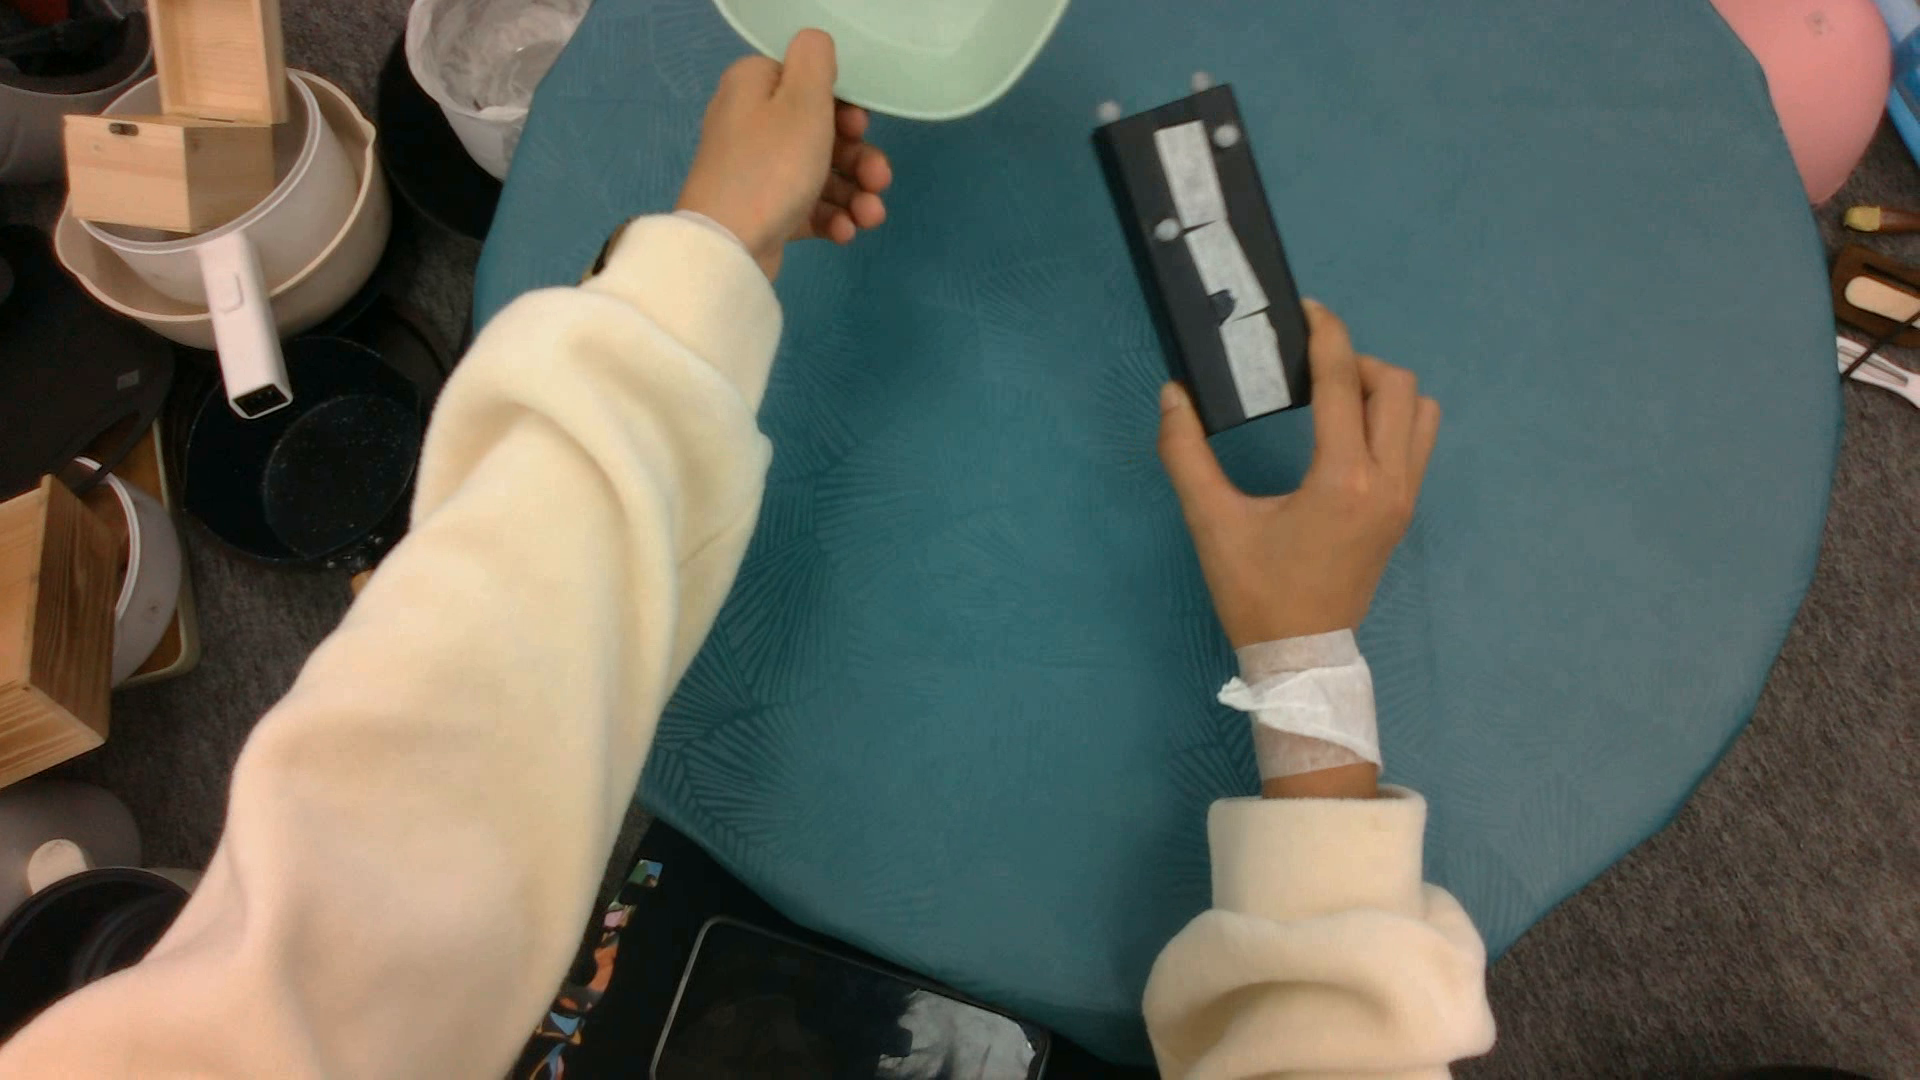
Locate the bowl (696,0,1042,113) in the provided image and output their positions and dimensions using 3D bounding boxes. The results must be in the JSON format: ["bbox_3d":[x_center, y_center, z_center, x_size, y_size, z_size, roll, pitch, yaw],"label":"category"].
[{"bbox_3d":[-0.030,-0.237,0.535,0.151,0.059,0.151,0,98,2],"label":"bowl"}]

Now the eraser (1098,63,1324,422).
[{"bbox_3d":[0.095,-0.112,0.527,0.053,0.030,0.125,-18,97,-2],"label":"eraser"}]
